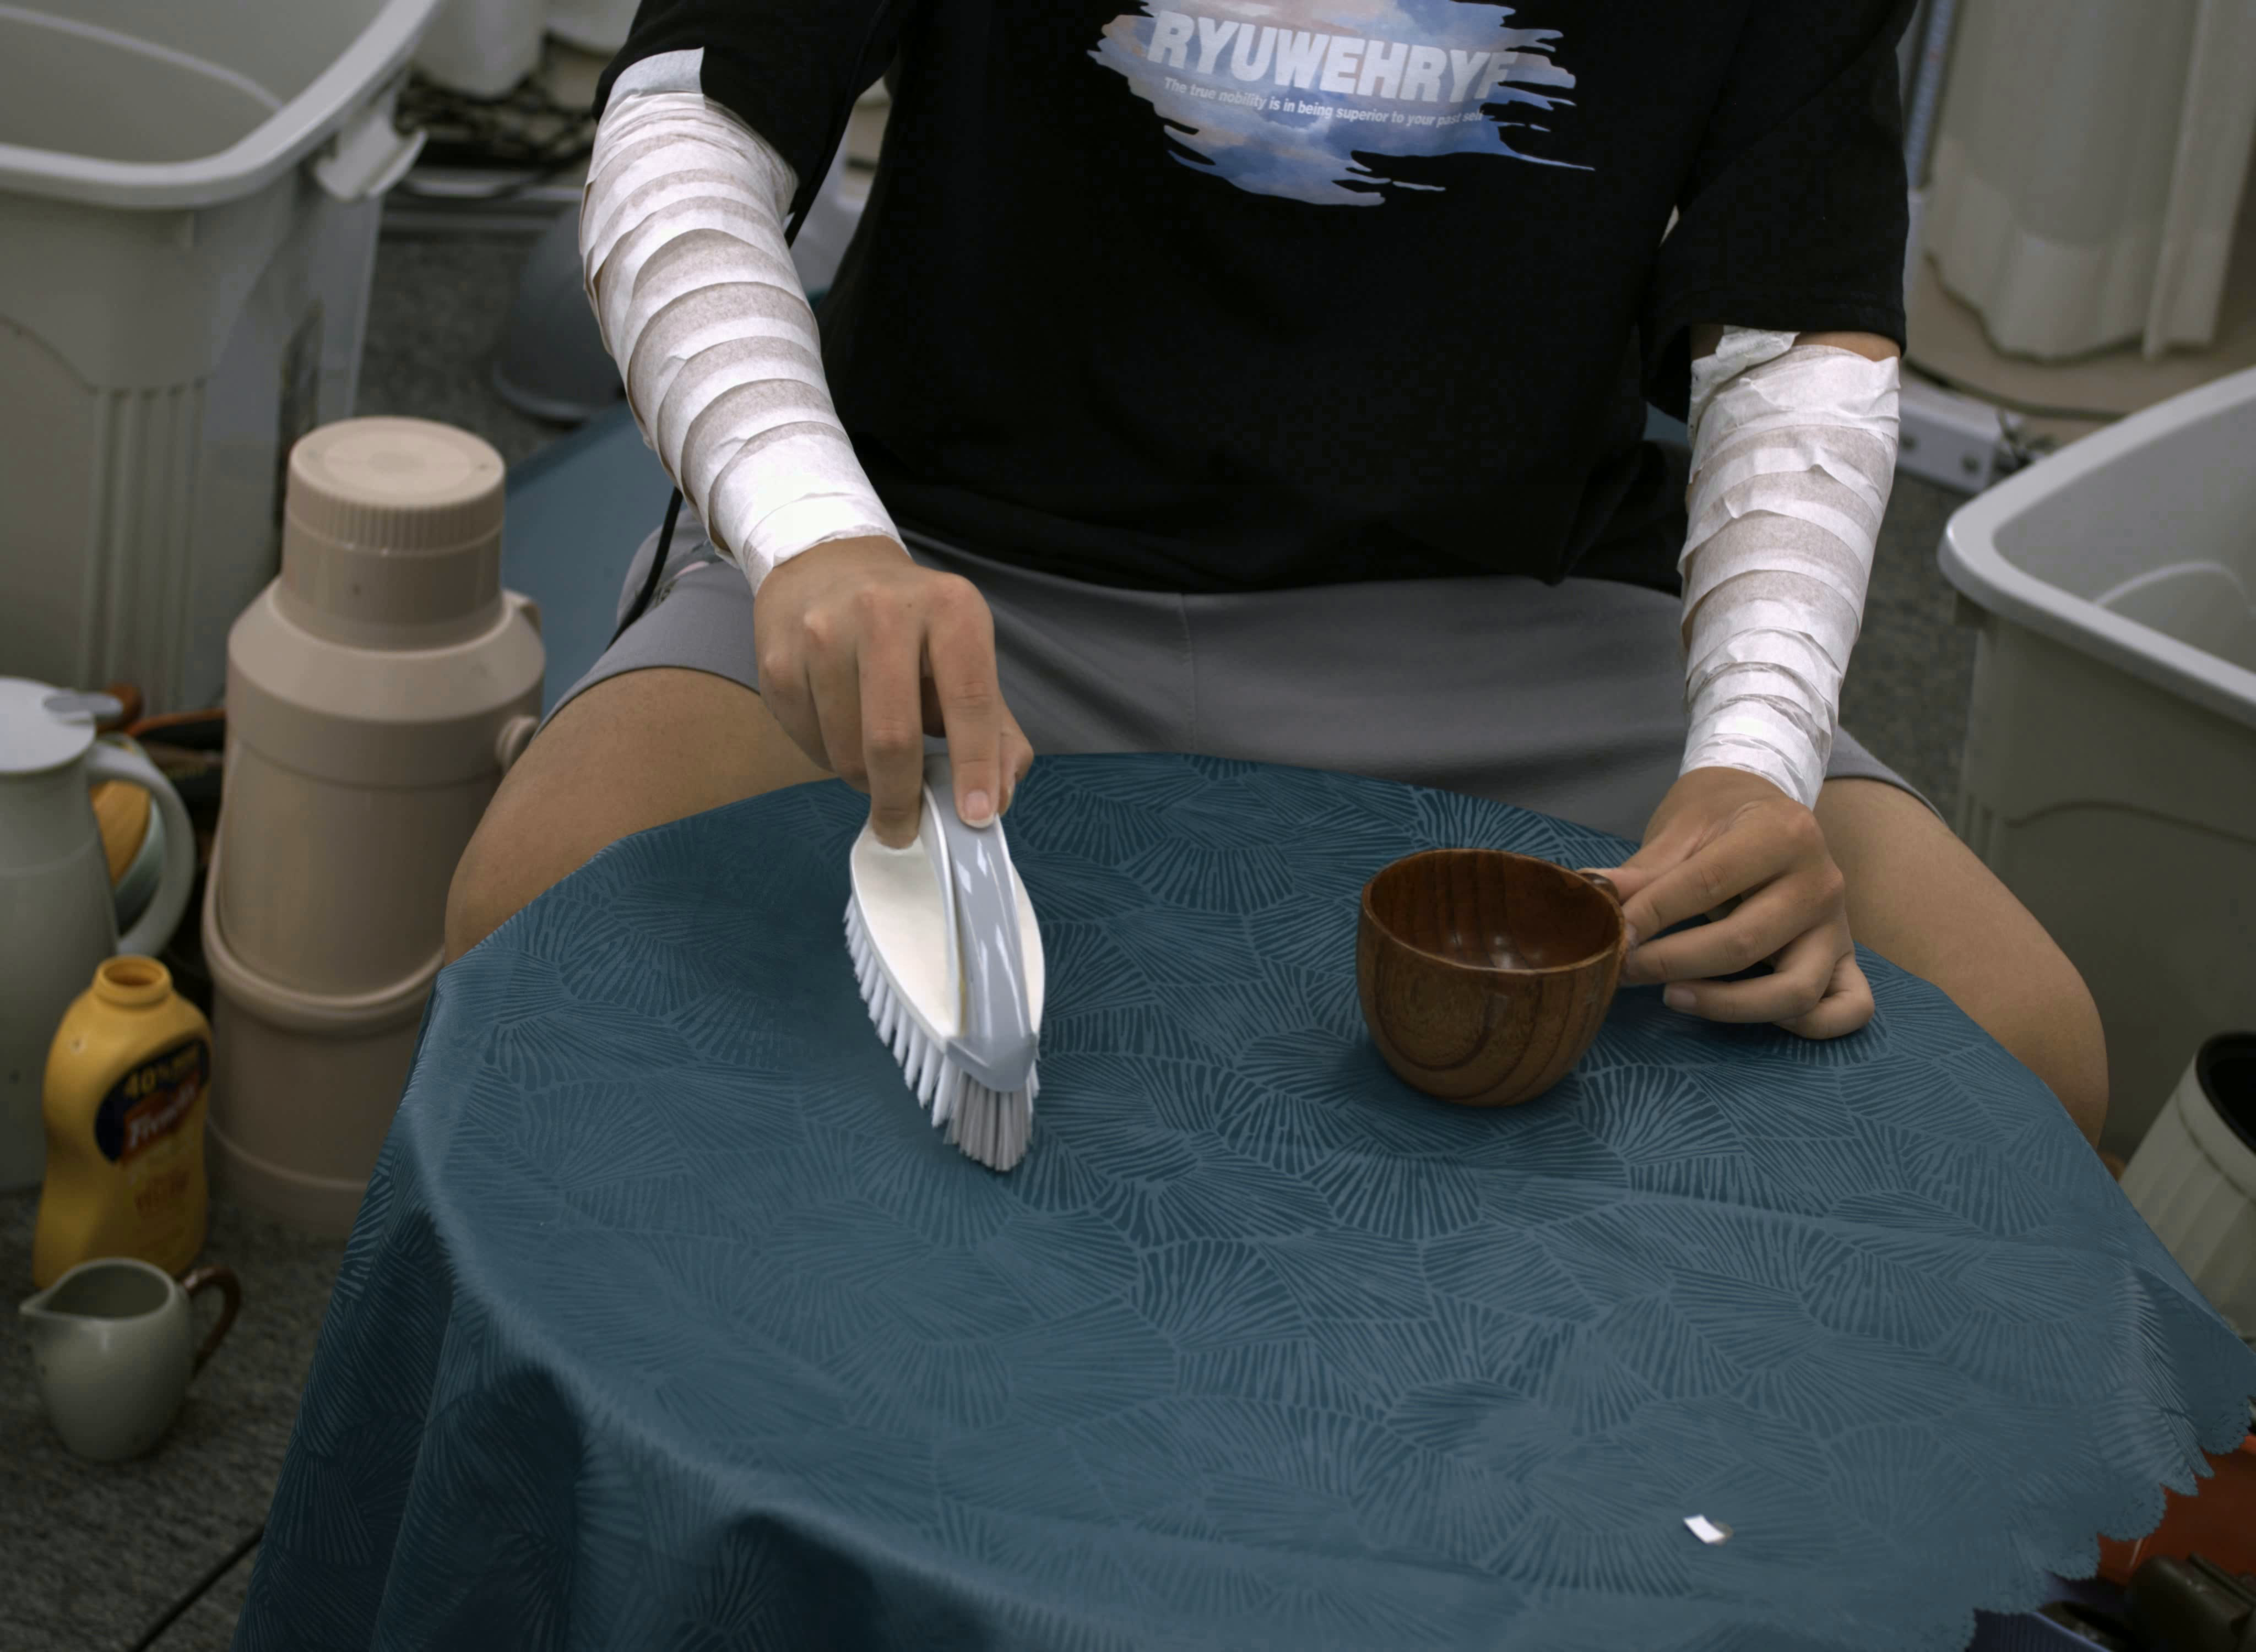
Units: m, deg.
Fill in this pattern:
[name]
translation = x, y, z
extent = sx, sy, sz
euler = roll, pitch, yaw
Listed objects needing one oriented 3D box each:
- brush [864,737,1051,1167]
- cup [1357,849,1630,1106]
[brush]
translation = -0.055, 0.035, 1.858
extent = 0.061, 0.094, 0.177
euler = -5, 34, -8
[cup]
translation = 0.135, 0.054, 1.900
extent = 0.097, 0.067, 0.119
euler = 24, 30, 35
